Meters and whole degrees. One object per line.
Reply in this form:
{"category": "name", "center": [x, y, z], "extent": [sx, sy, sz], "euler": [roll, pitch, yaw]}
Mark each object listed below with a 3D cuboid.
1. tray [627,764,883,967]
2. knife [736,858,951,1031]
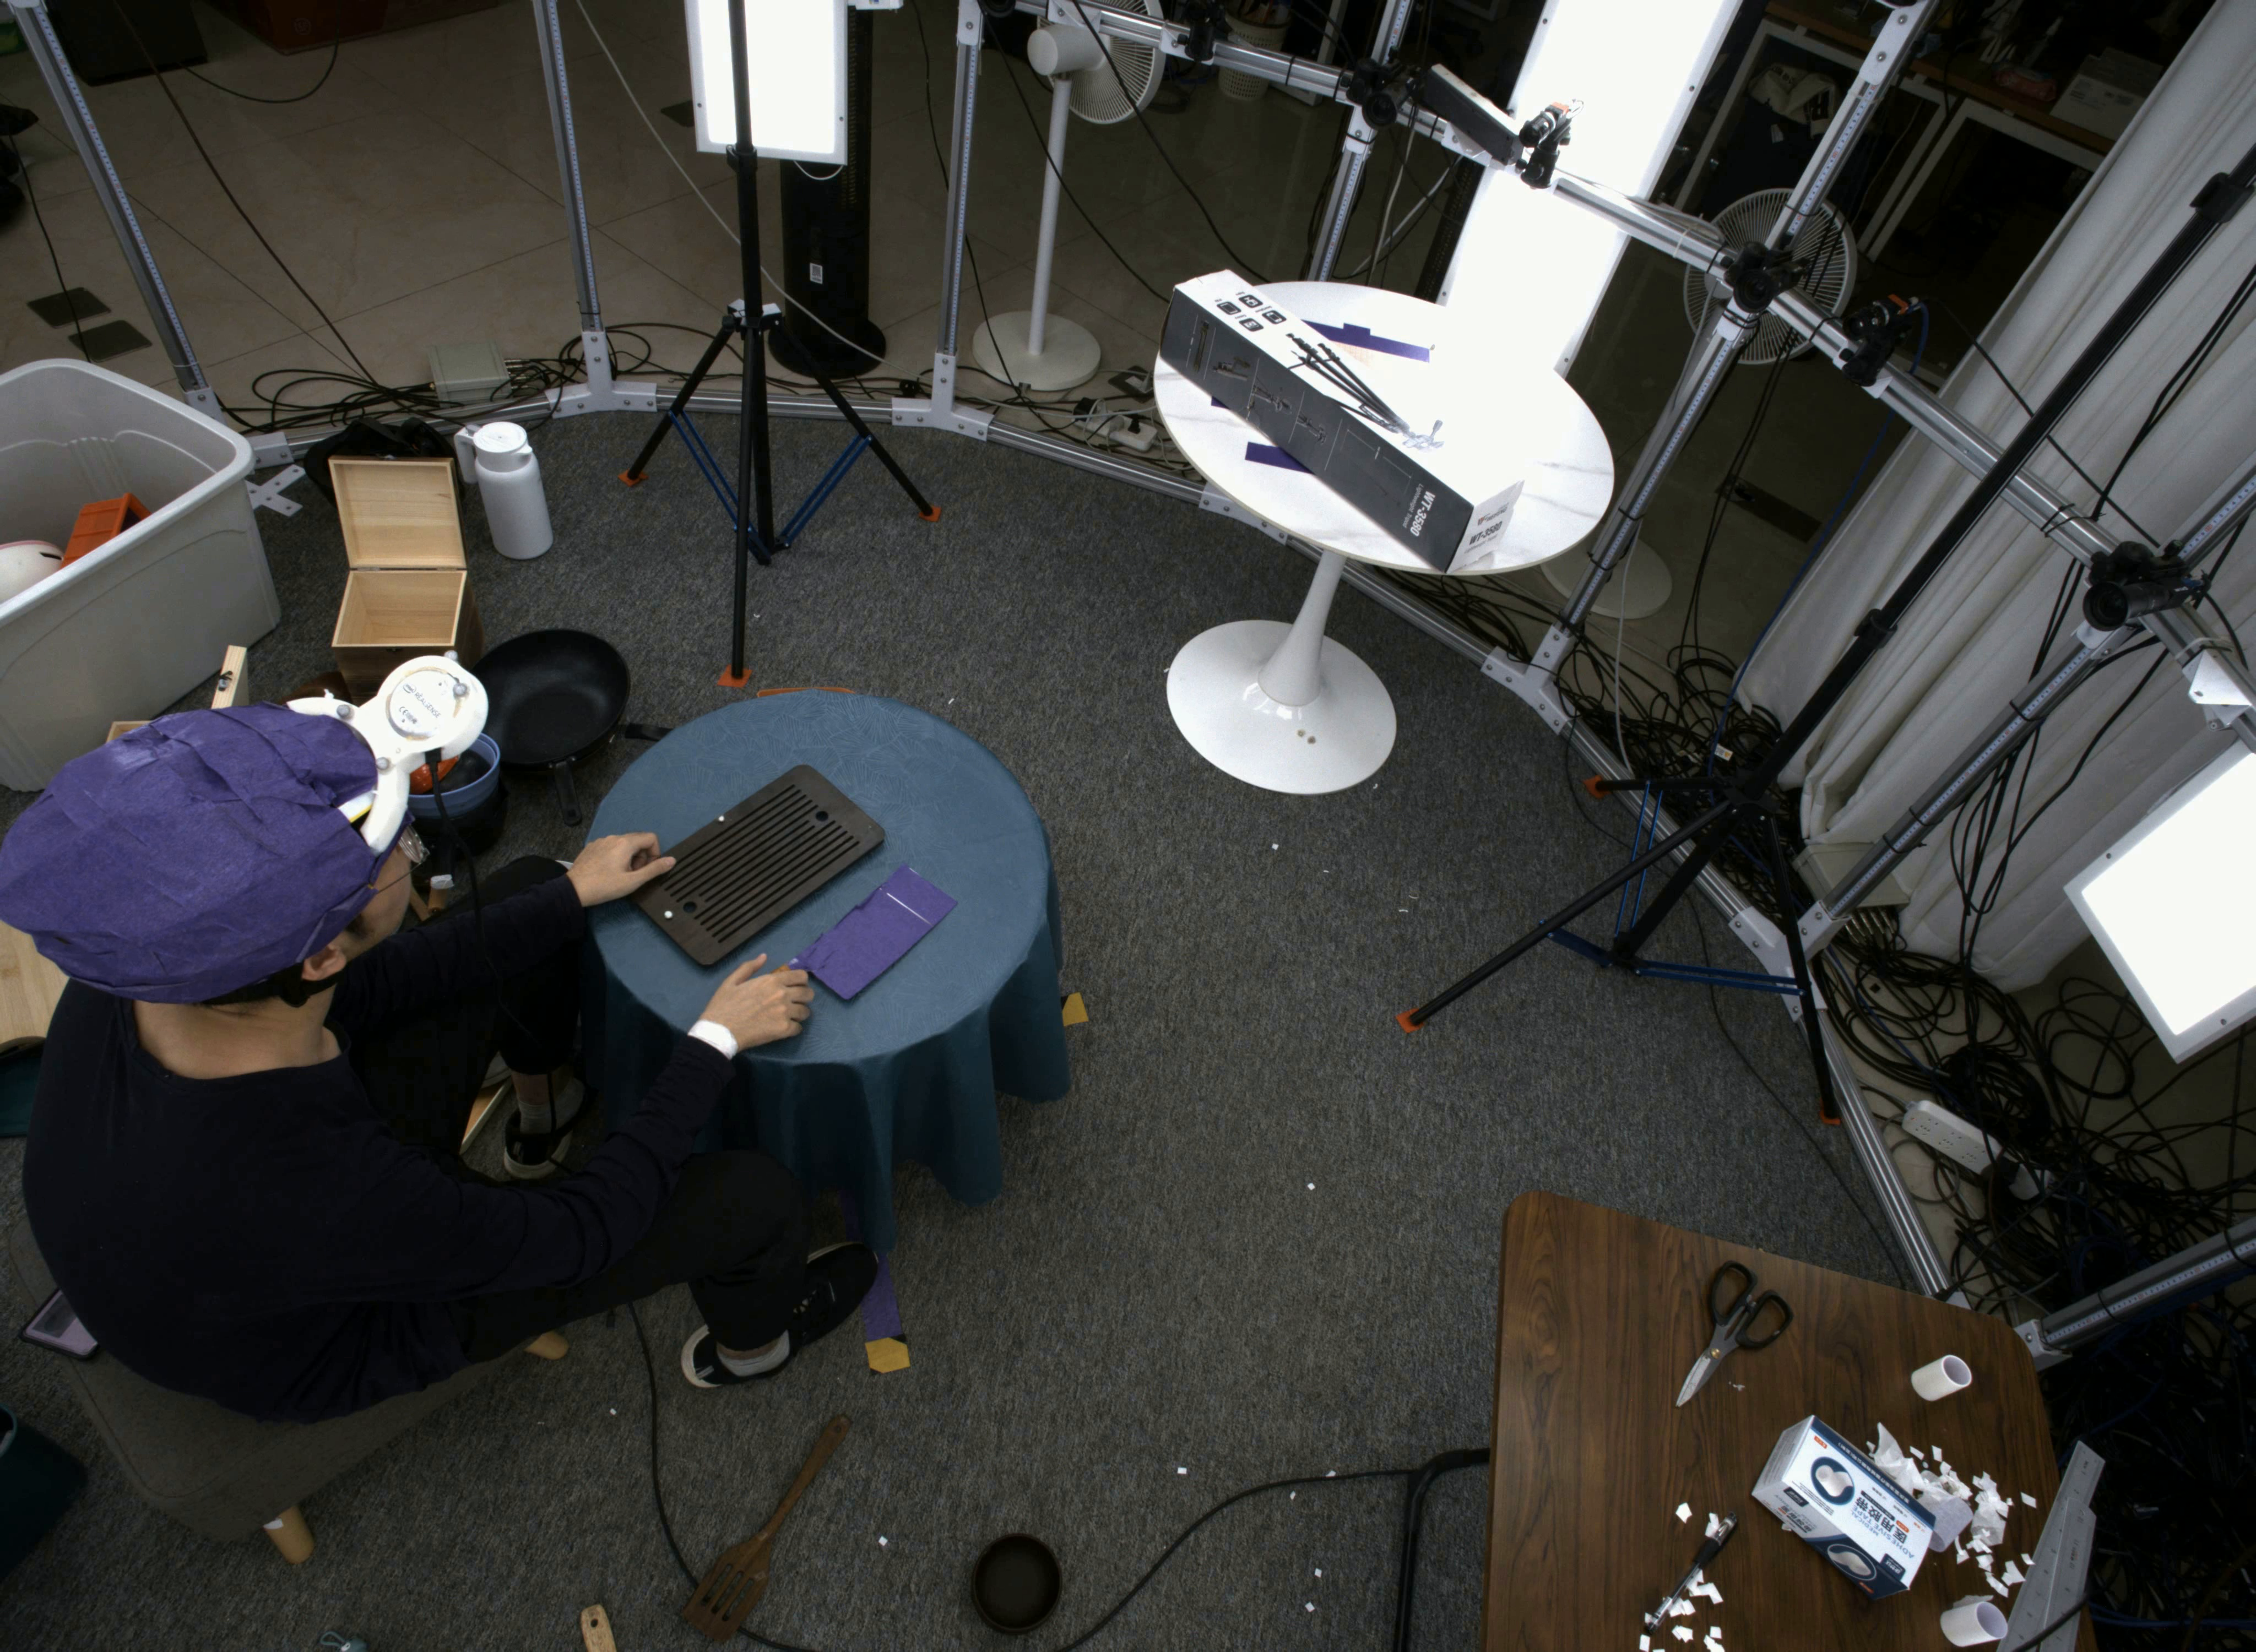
{"category": "tray", "center": [-0.480, 0.044, 1.676], "extent": [0.166, 0.019, 0.306], "euler": [39, 55, 15]}
{"category": "knife", "center": [-0.346, 0.155, 1.623], "extent": [0.102, 0.033, 0.315], "euler": [34, 53, 13]}
